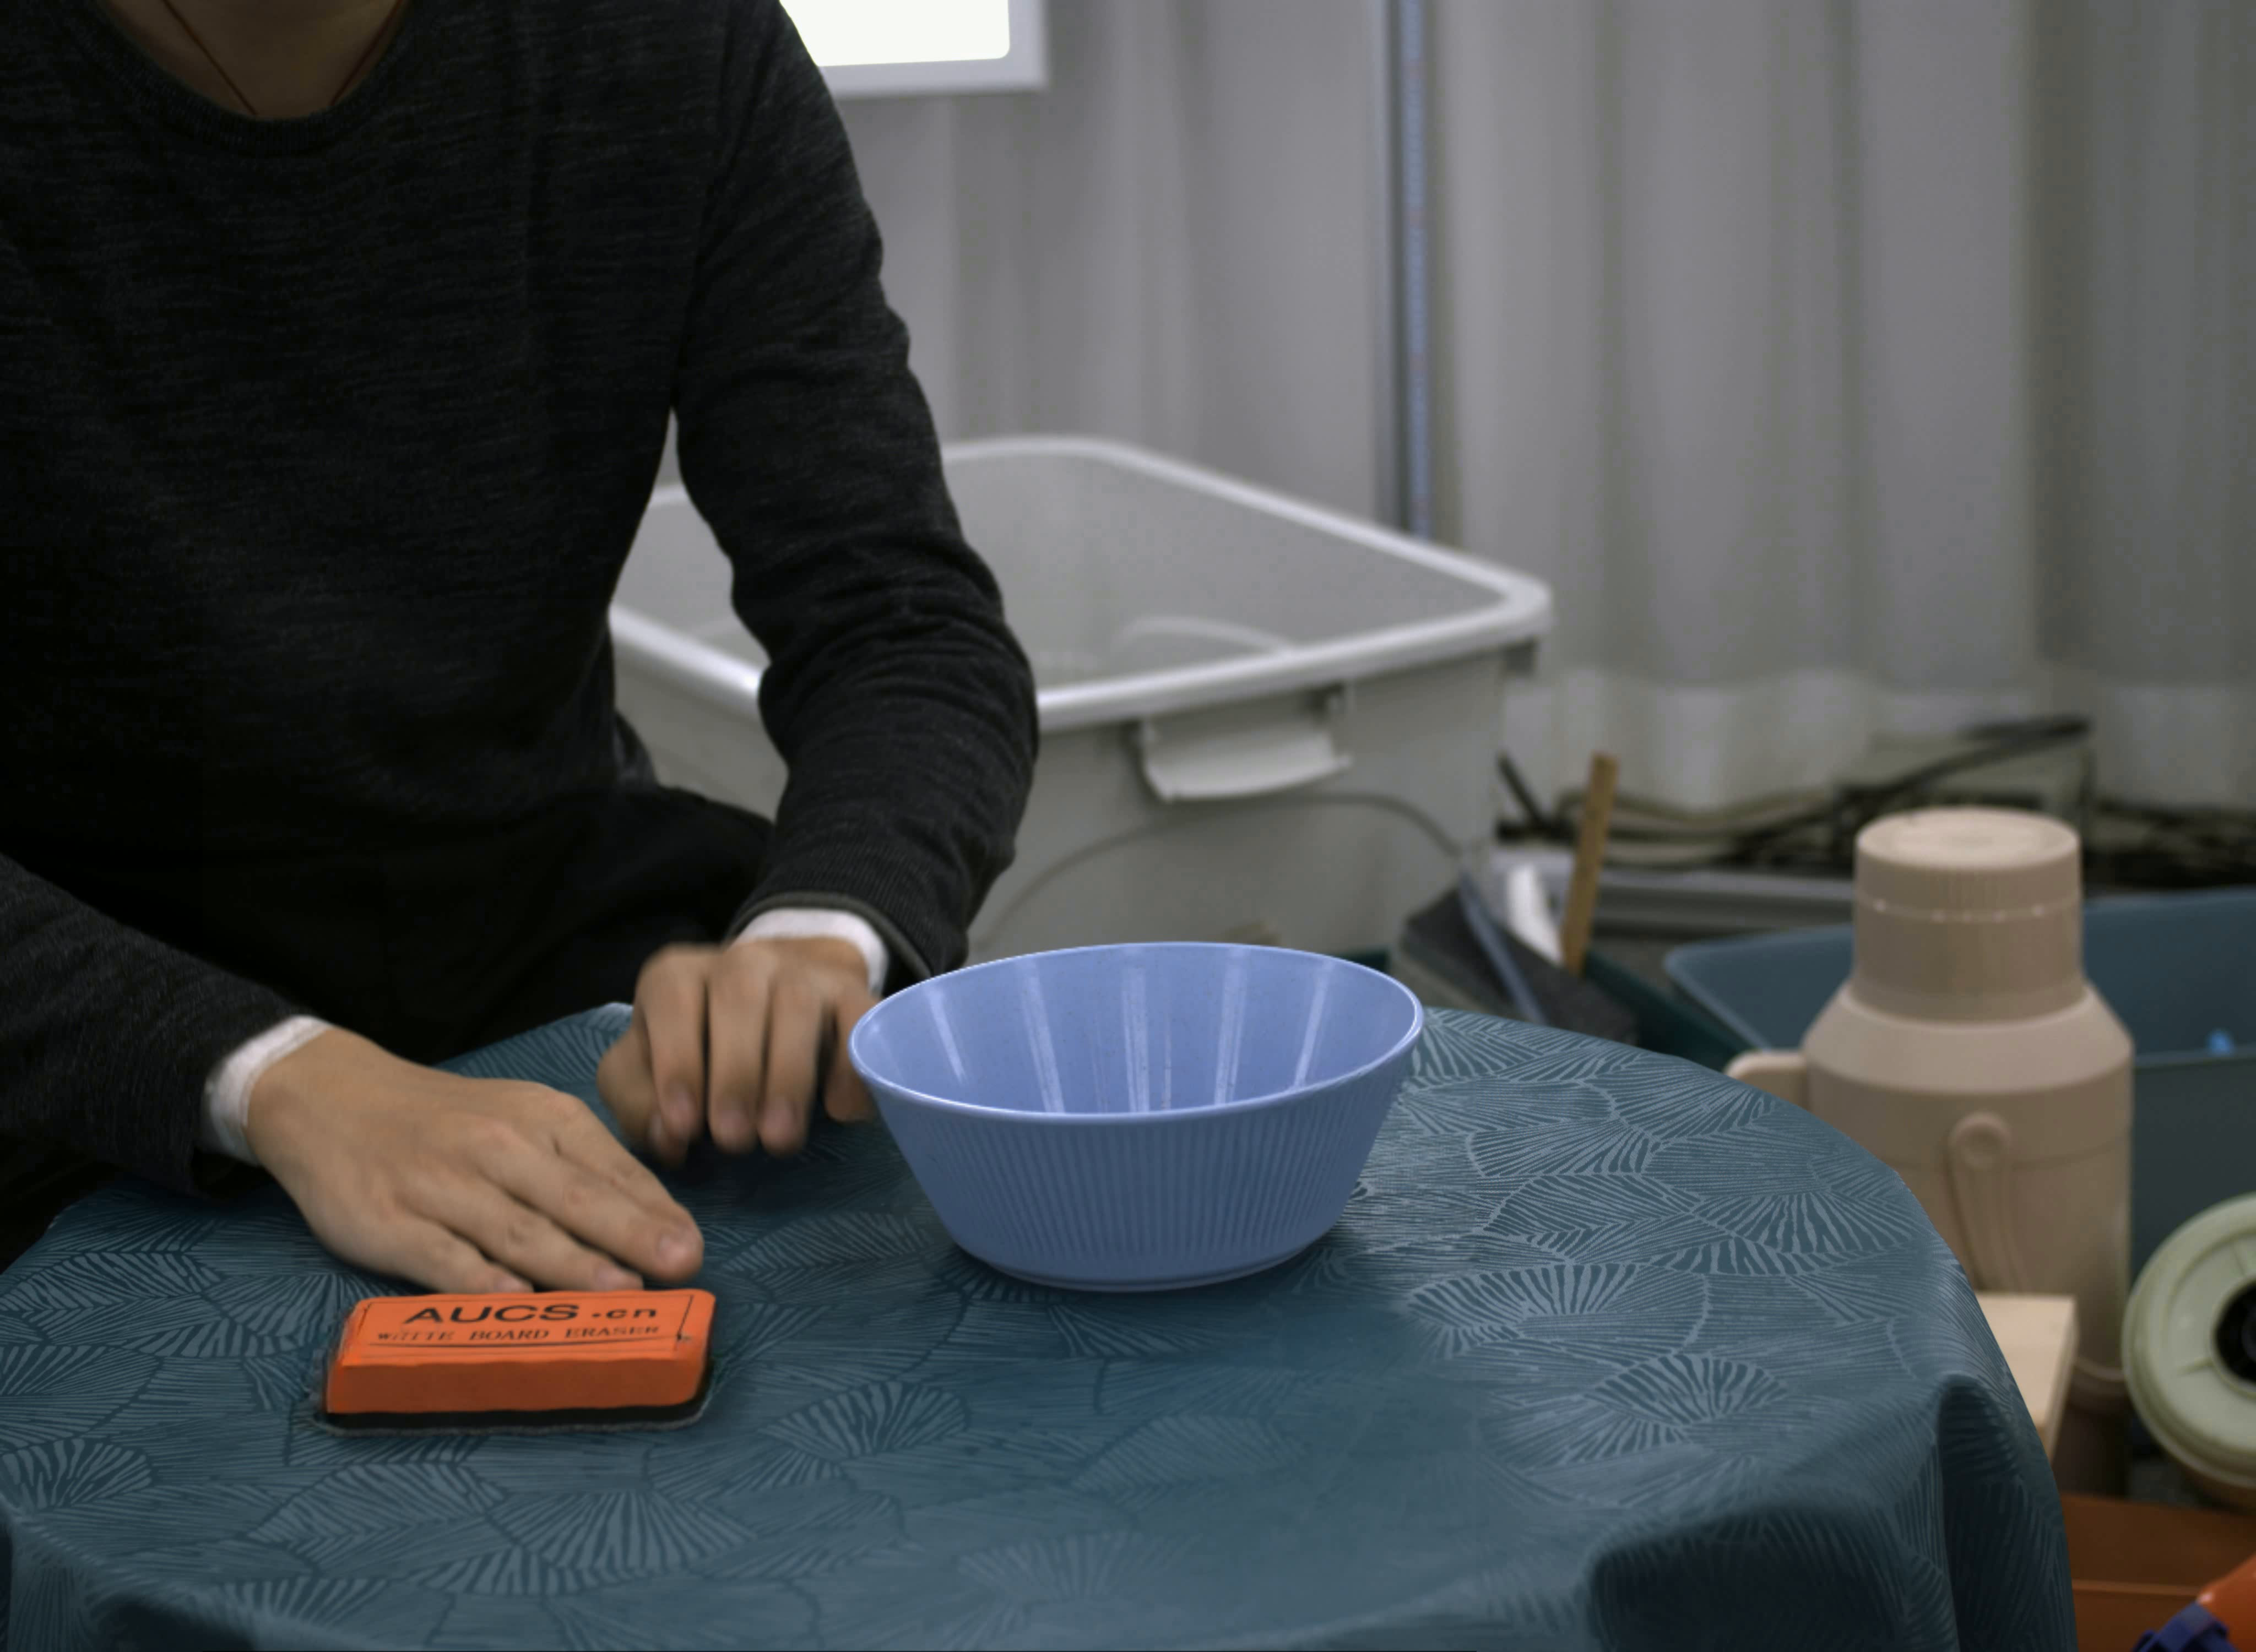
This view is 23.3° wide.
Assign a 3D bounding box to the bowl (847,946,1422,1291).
[{"bbox_3d":[0.003,0.091,1.668,0.175,0.070,0.177,-3,15,1],"label":"bowl"}]

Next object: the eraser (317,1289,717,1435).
[{"bbox_3d":[-0.173,0.153,1.558,0.108,0.023,0.059,-2,16,5],"label":"eraser"}]
